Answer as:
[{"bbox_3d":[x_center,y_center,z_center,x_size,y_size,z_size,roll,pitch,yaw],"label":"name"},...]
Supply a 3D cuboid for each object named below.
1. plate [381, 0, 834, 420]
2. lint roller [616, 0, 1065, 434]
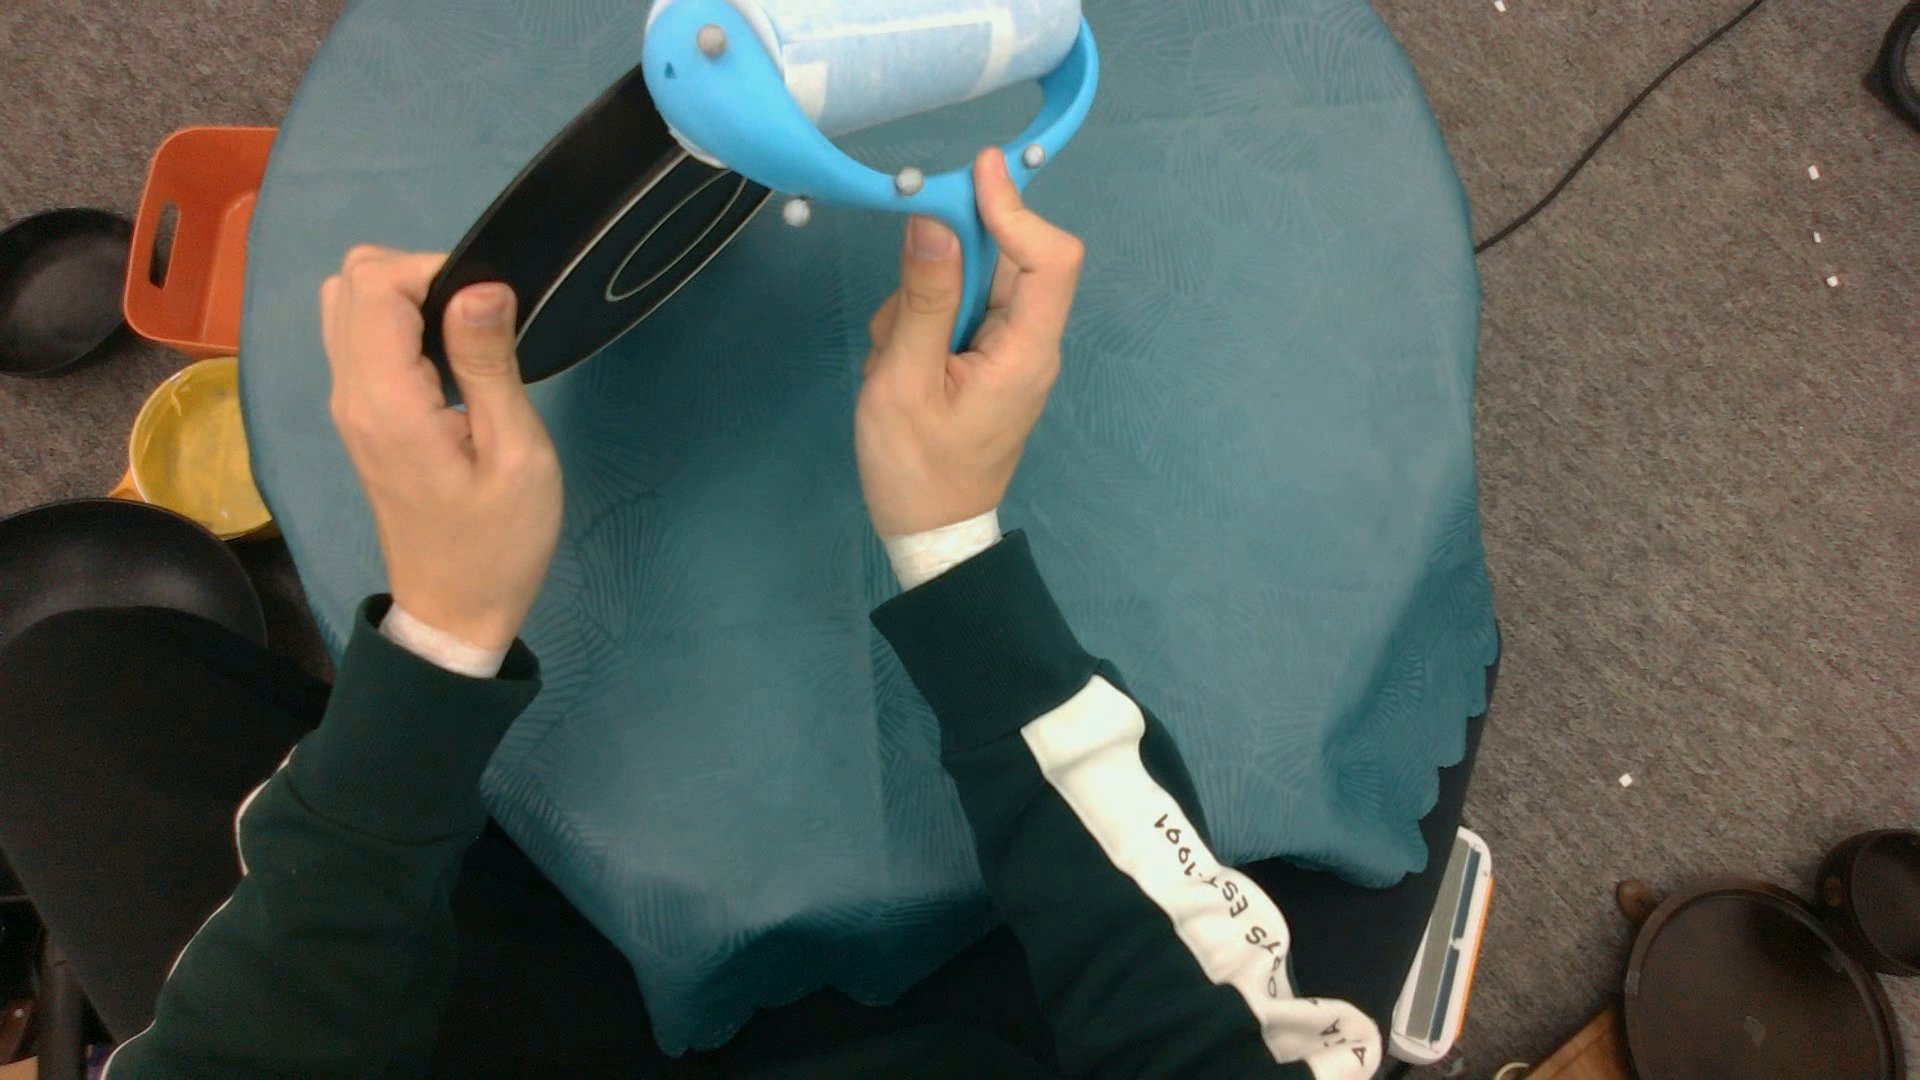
[{"bbox_3d":[-0.130,-0.129,0.549,0.023,0.244,0.245,44,78,-7],"label":"plate"},{"bbox_3d":[-0.025,-0.123,0.506,0.068,0.179,0.230,6,30,28],"label":"lint roller"}]
